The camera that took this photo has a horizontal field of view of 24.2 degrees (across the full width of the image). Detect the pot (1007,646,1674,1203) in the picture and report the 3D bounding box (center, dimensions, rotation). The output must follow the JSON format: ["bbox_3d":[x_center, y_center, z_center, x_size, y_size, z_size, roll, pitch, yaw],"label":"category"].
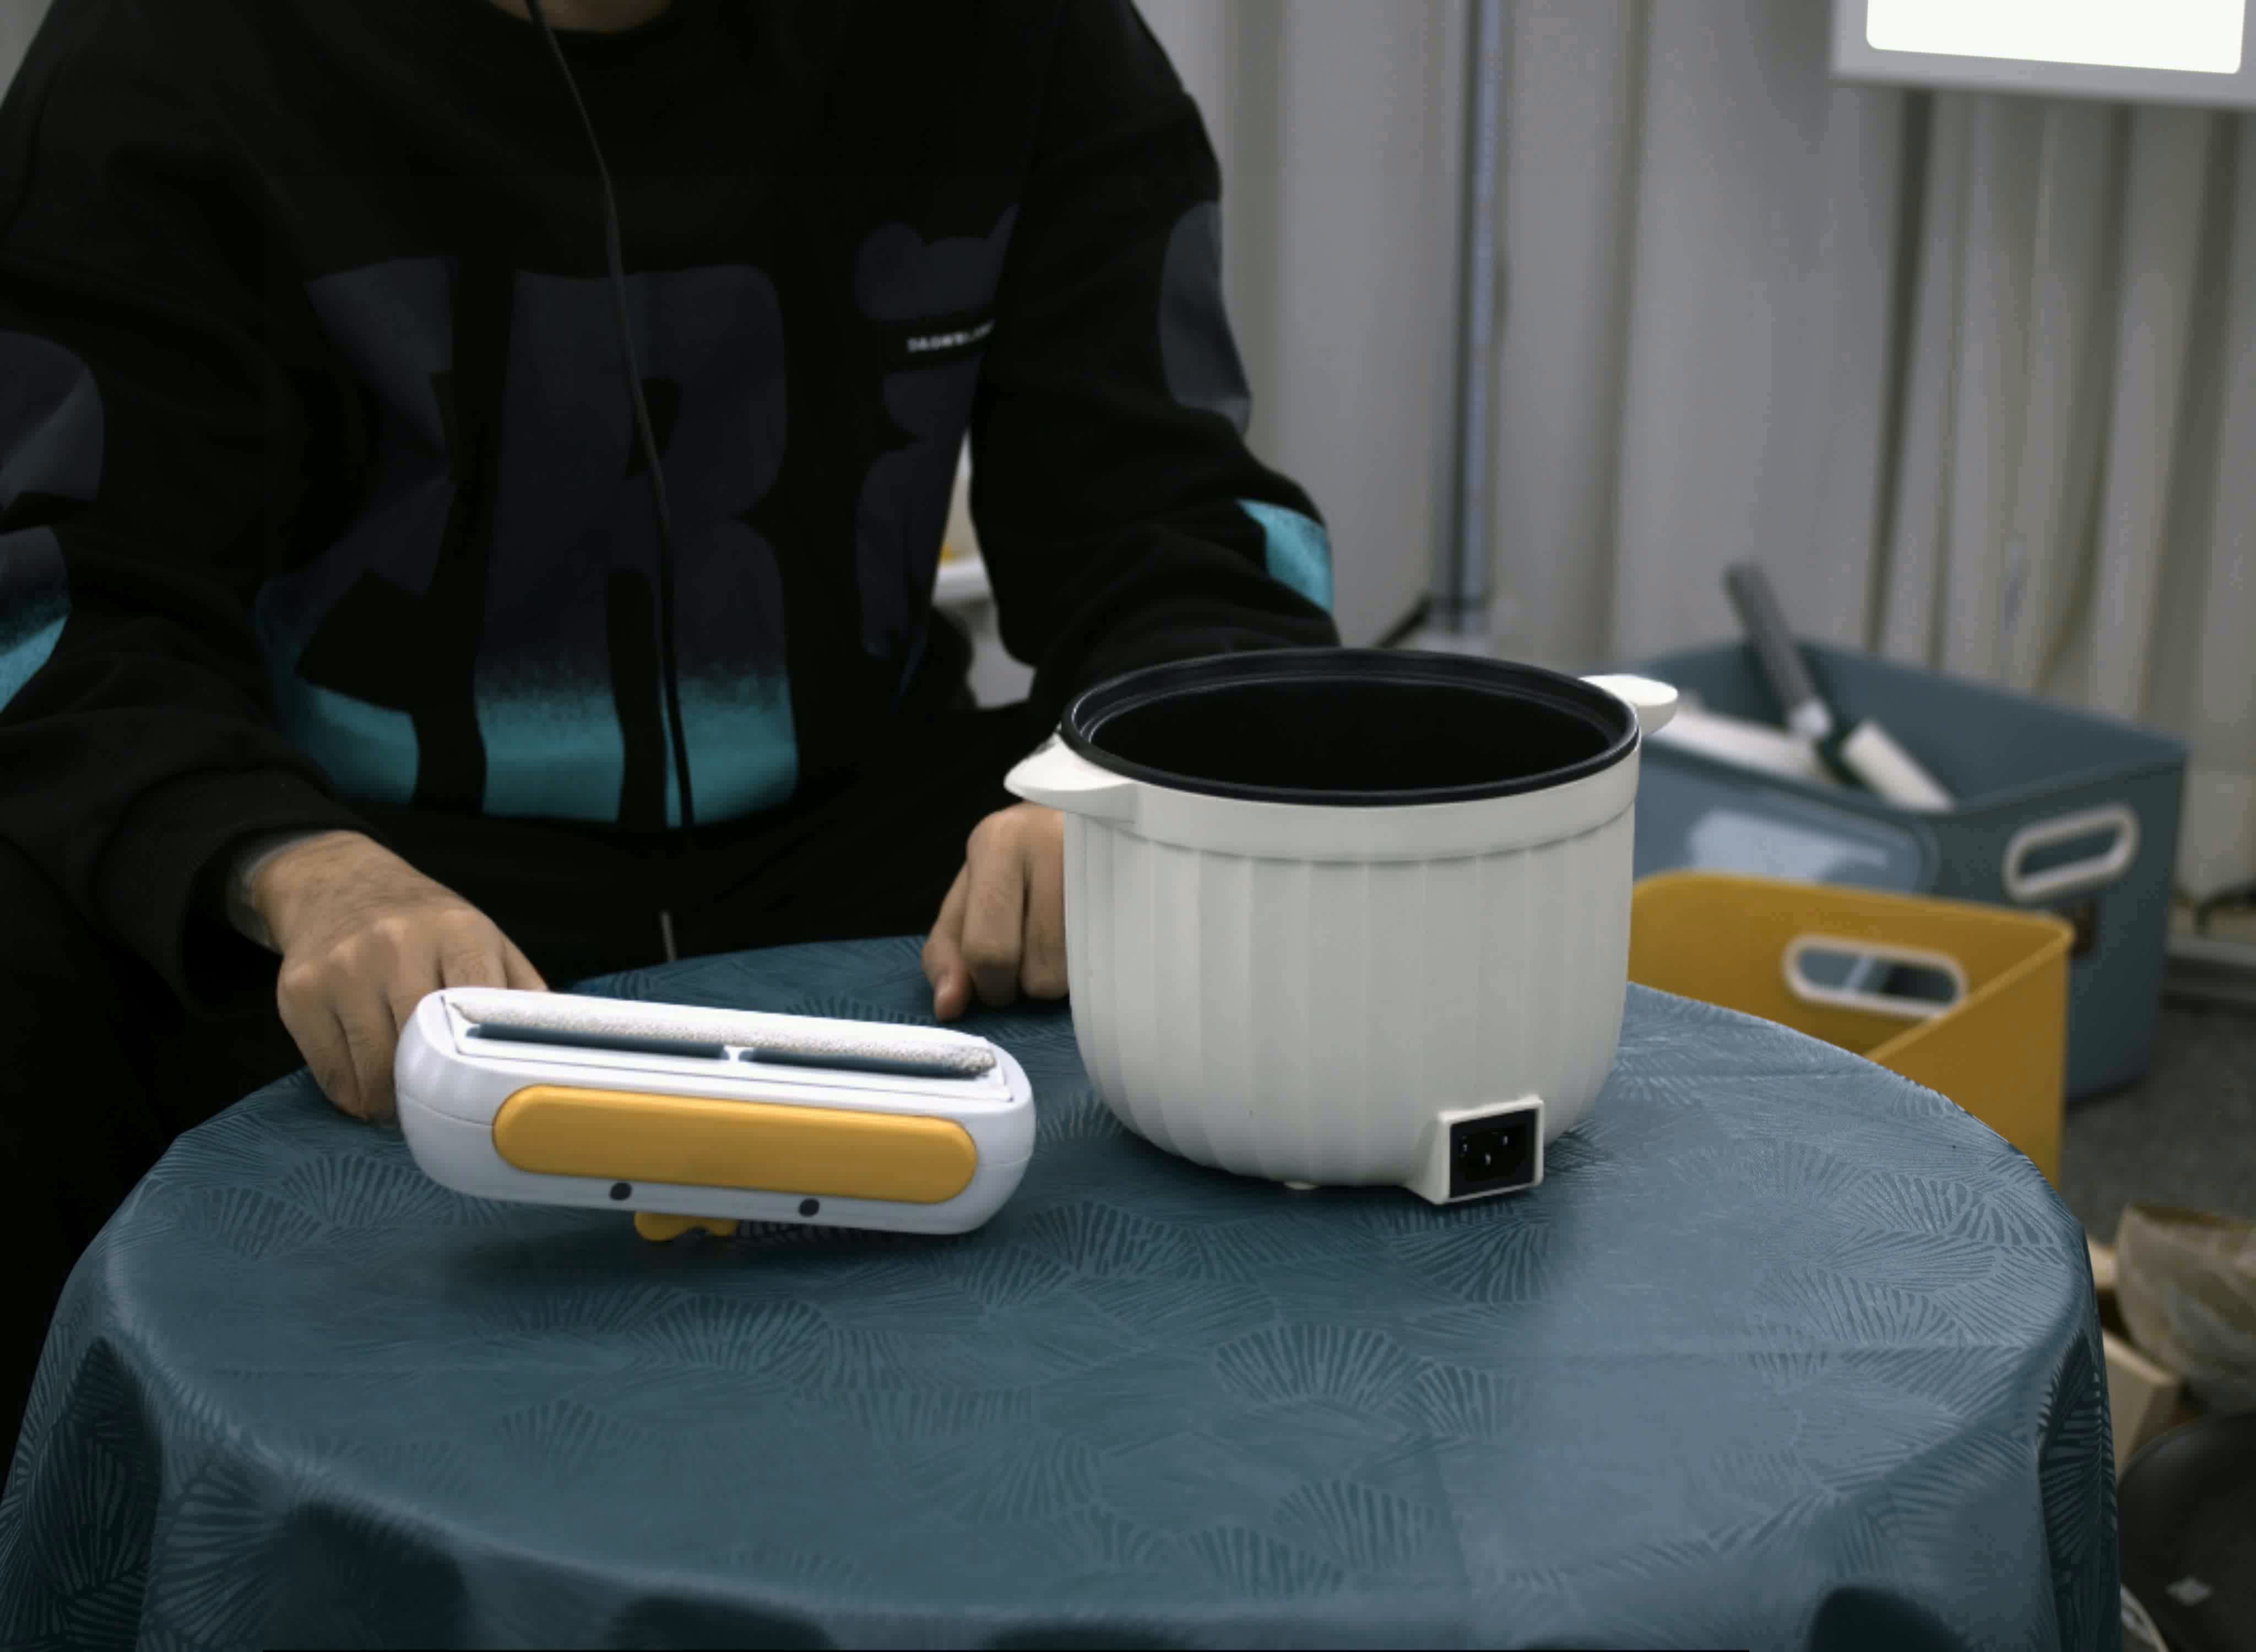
[{"bbox_3d":[0.065,0.028,1.662,0.241,0.144,0.188,-7,20,-30],"label":"pot"}]

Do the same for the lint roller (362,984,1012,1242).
[{"bbox_3d":[-0.142,0.077,1.615,0.193,0.075,0.191,2,13,-13],"label":"lint roller"}]
